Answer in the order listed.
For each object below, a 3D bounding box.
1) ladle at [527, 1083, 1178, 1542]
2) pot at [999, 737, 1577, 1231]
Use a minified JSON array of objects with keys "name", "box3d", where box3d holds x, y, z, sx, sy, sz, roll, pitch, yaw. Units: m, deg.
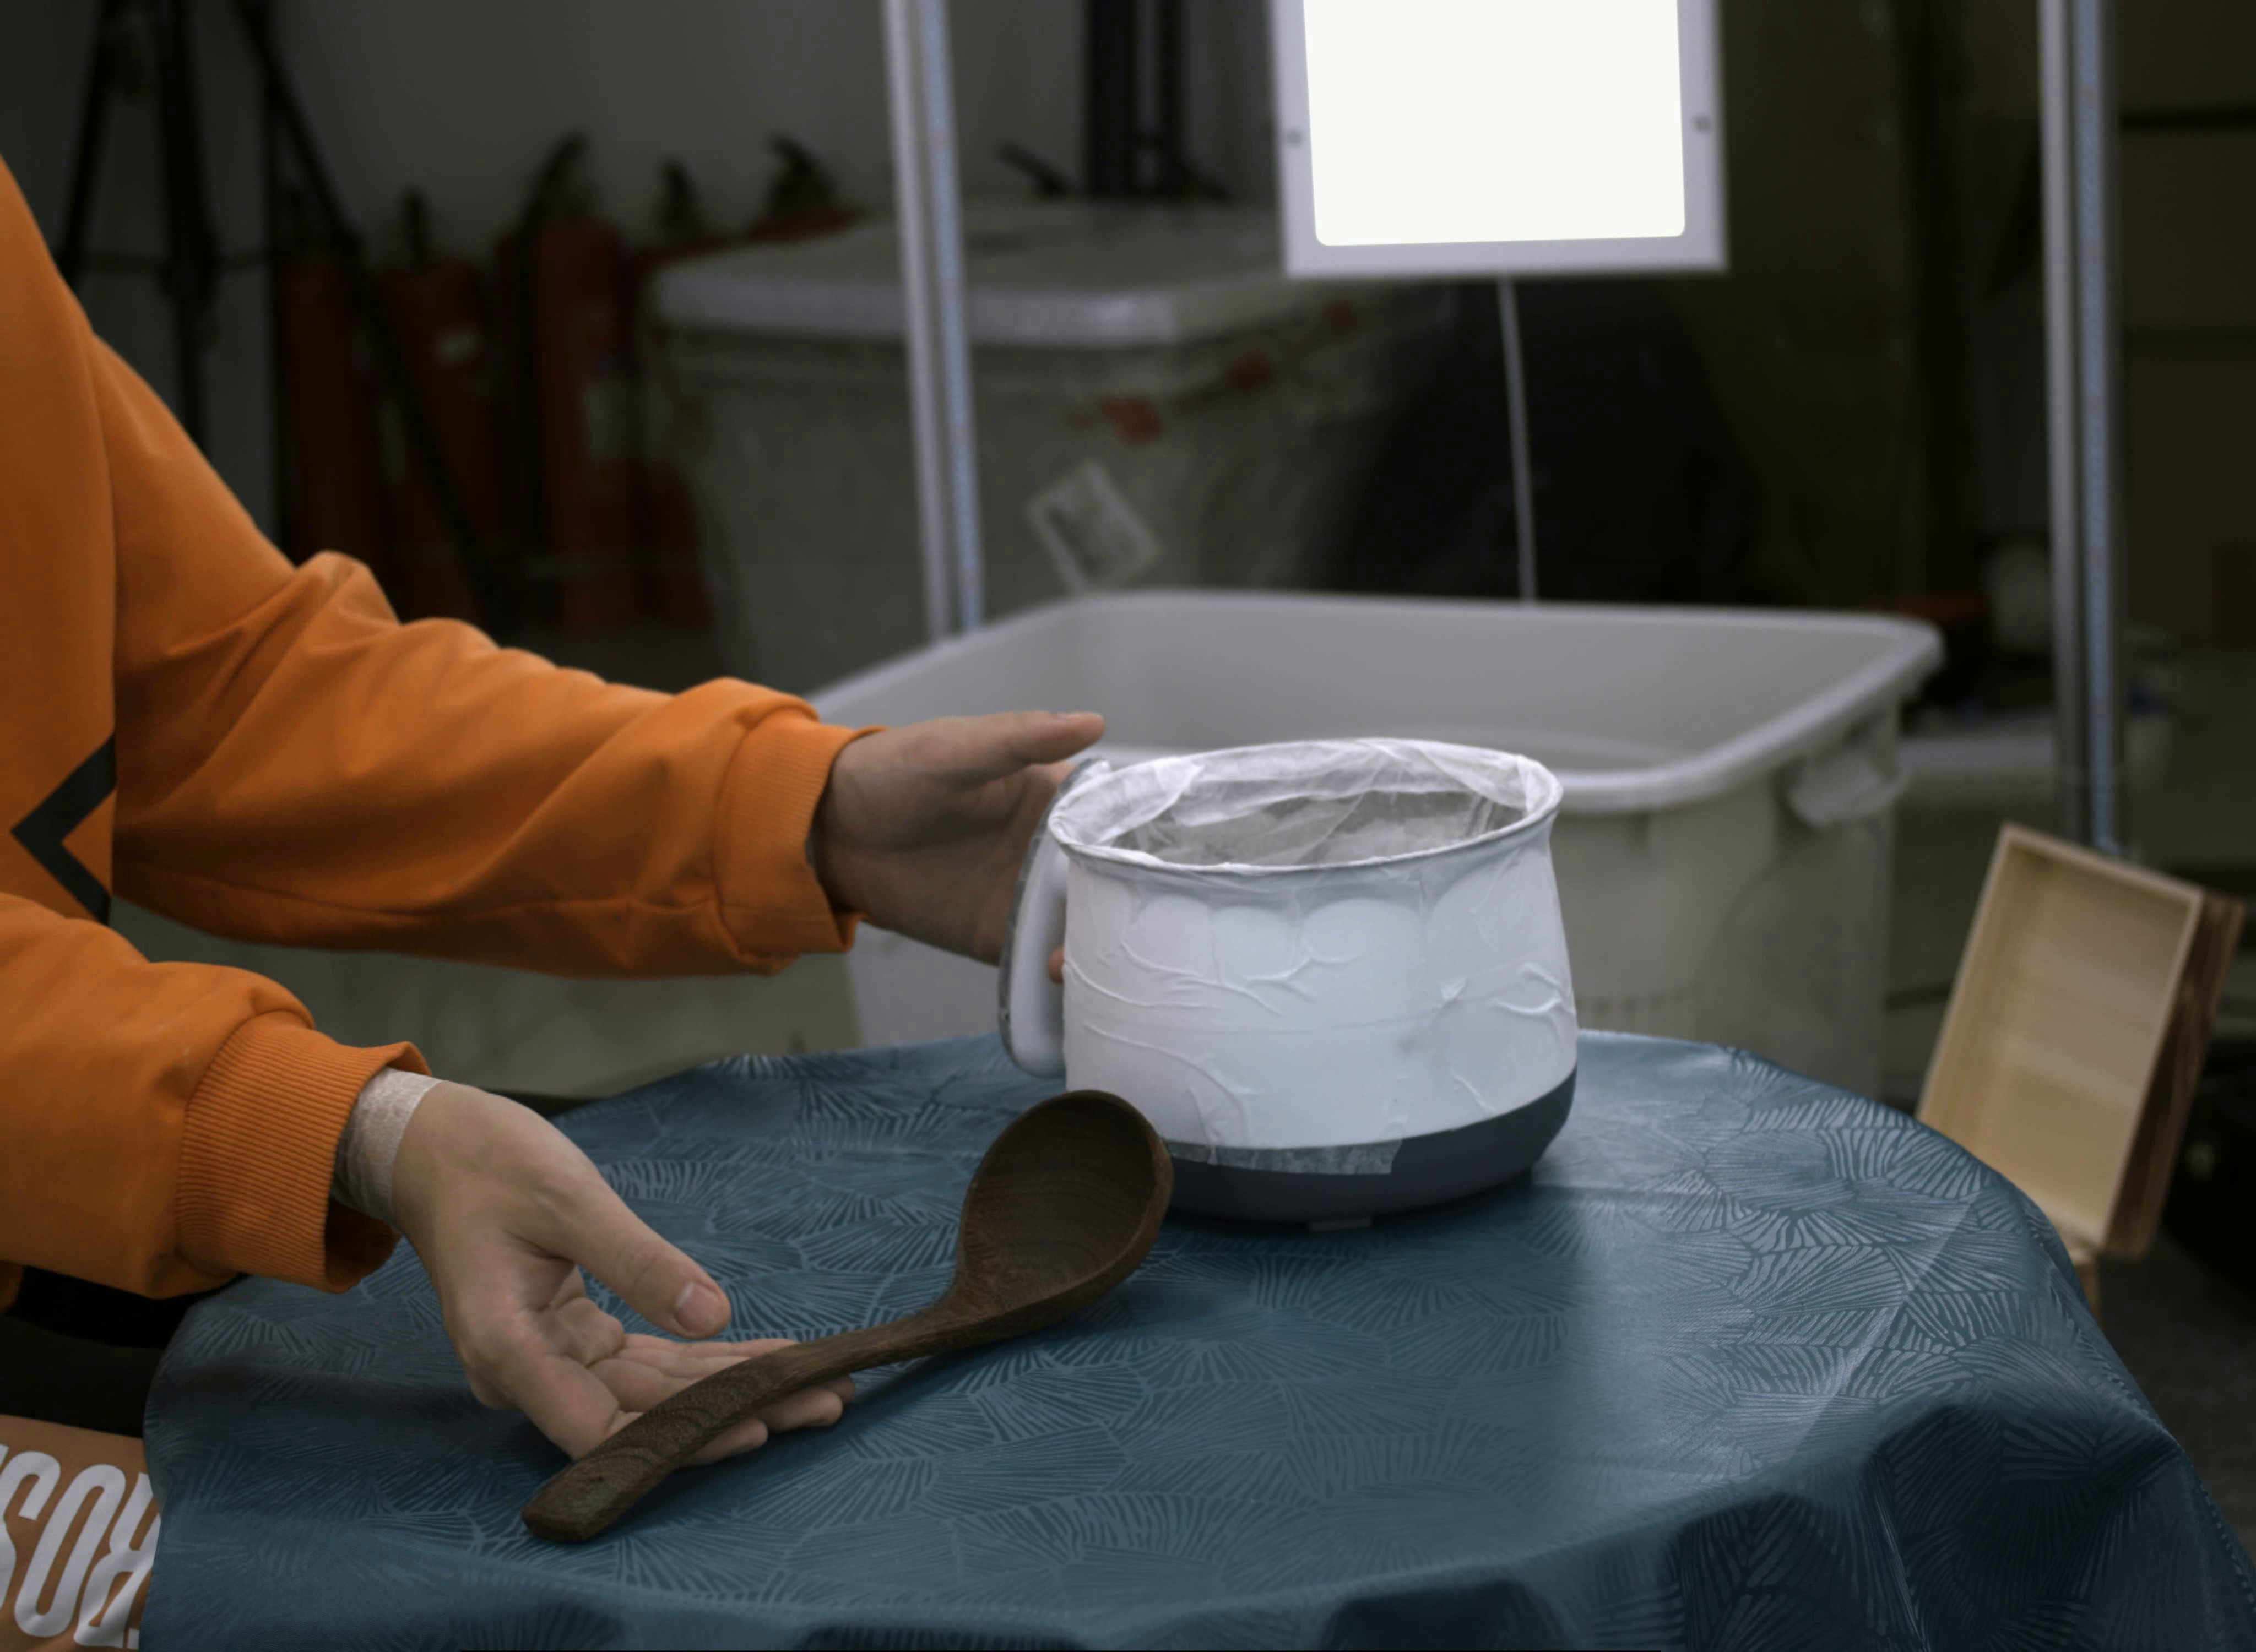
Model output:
[{"name":"ladle","box3d":[-0.085,0.145,1.705,0.077,0.071,0.267,8,18,40]},{"name":"pot","box3d":[0.044,0.049,1.906,0.239,0.137,0.174,9,19,42]}]
